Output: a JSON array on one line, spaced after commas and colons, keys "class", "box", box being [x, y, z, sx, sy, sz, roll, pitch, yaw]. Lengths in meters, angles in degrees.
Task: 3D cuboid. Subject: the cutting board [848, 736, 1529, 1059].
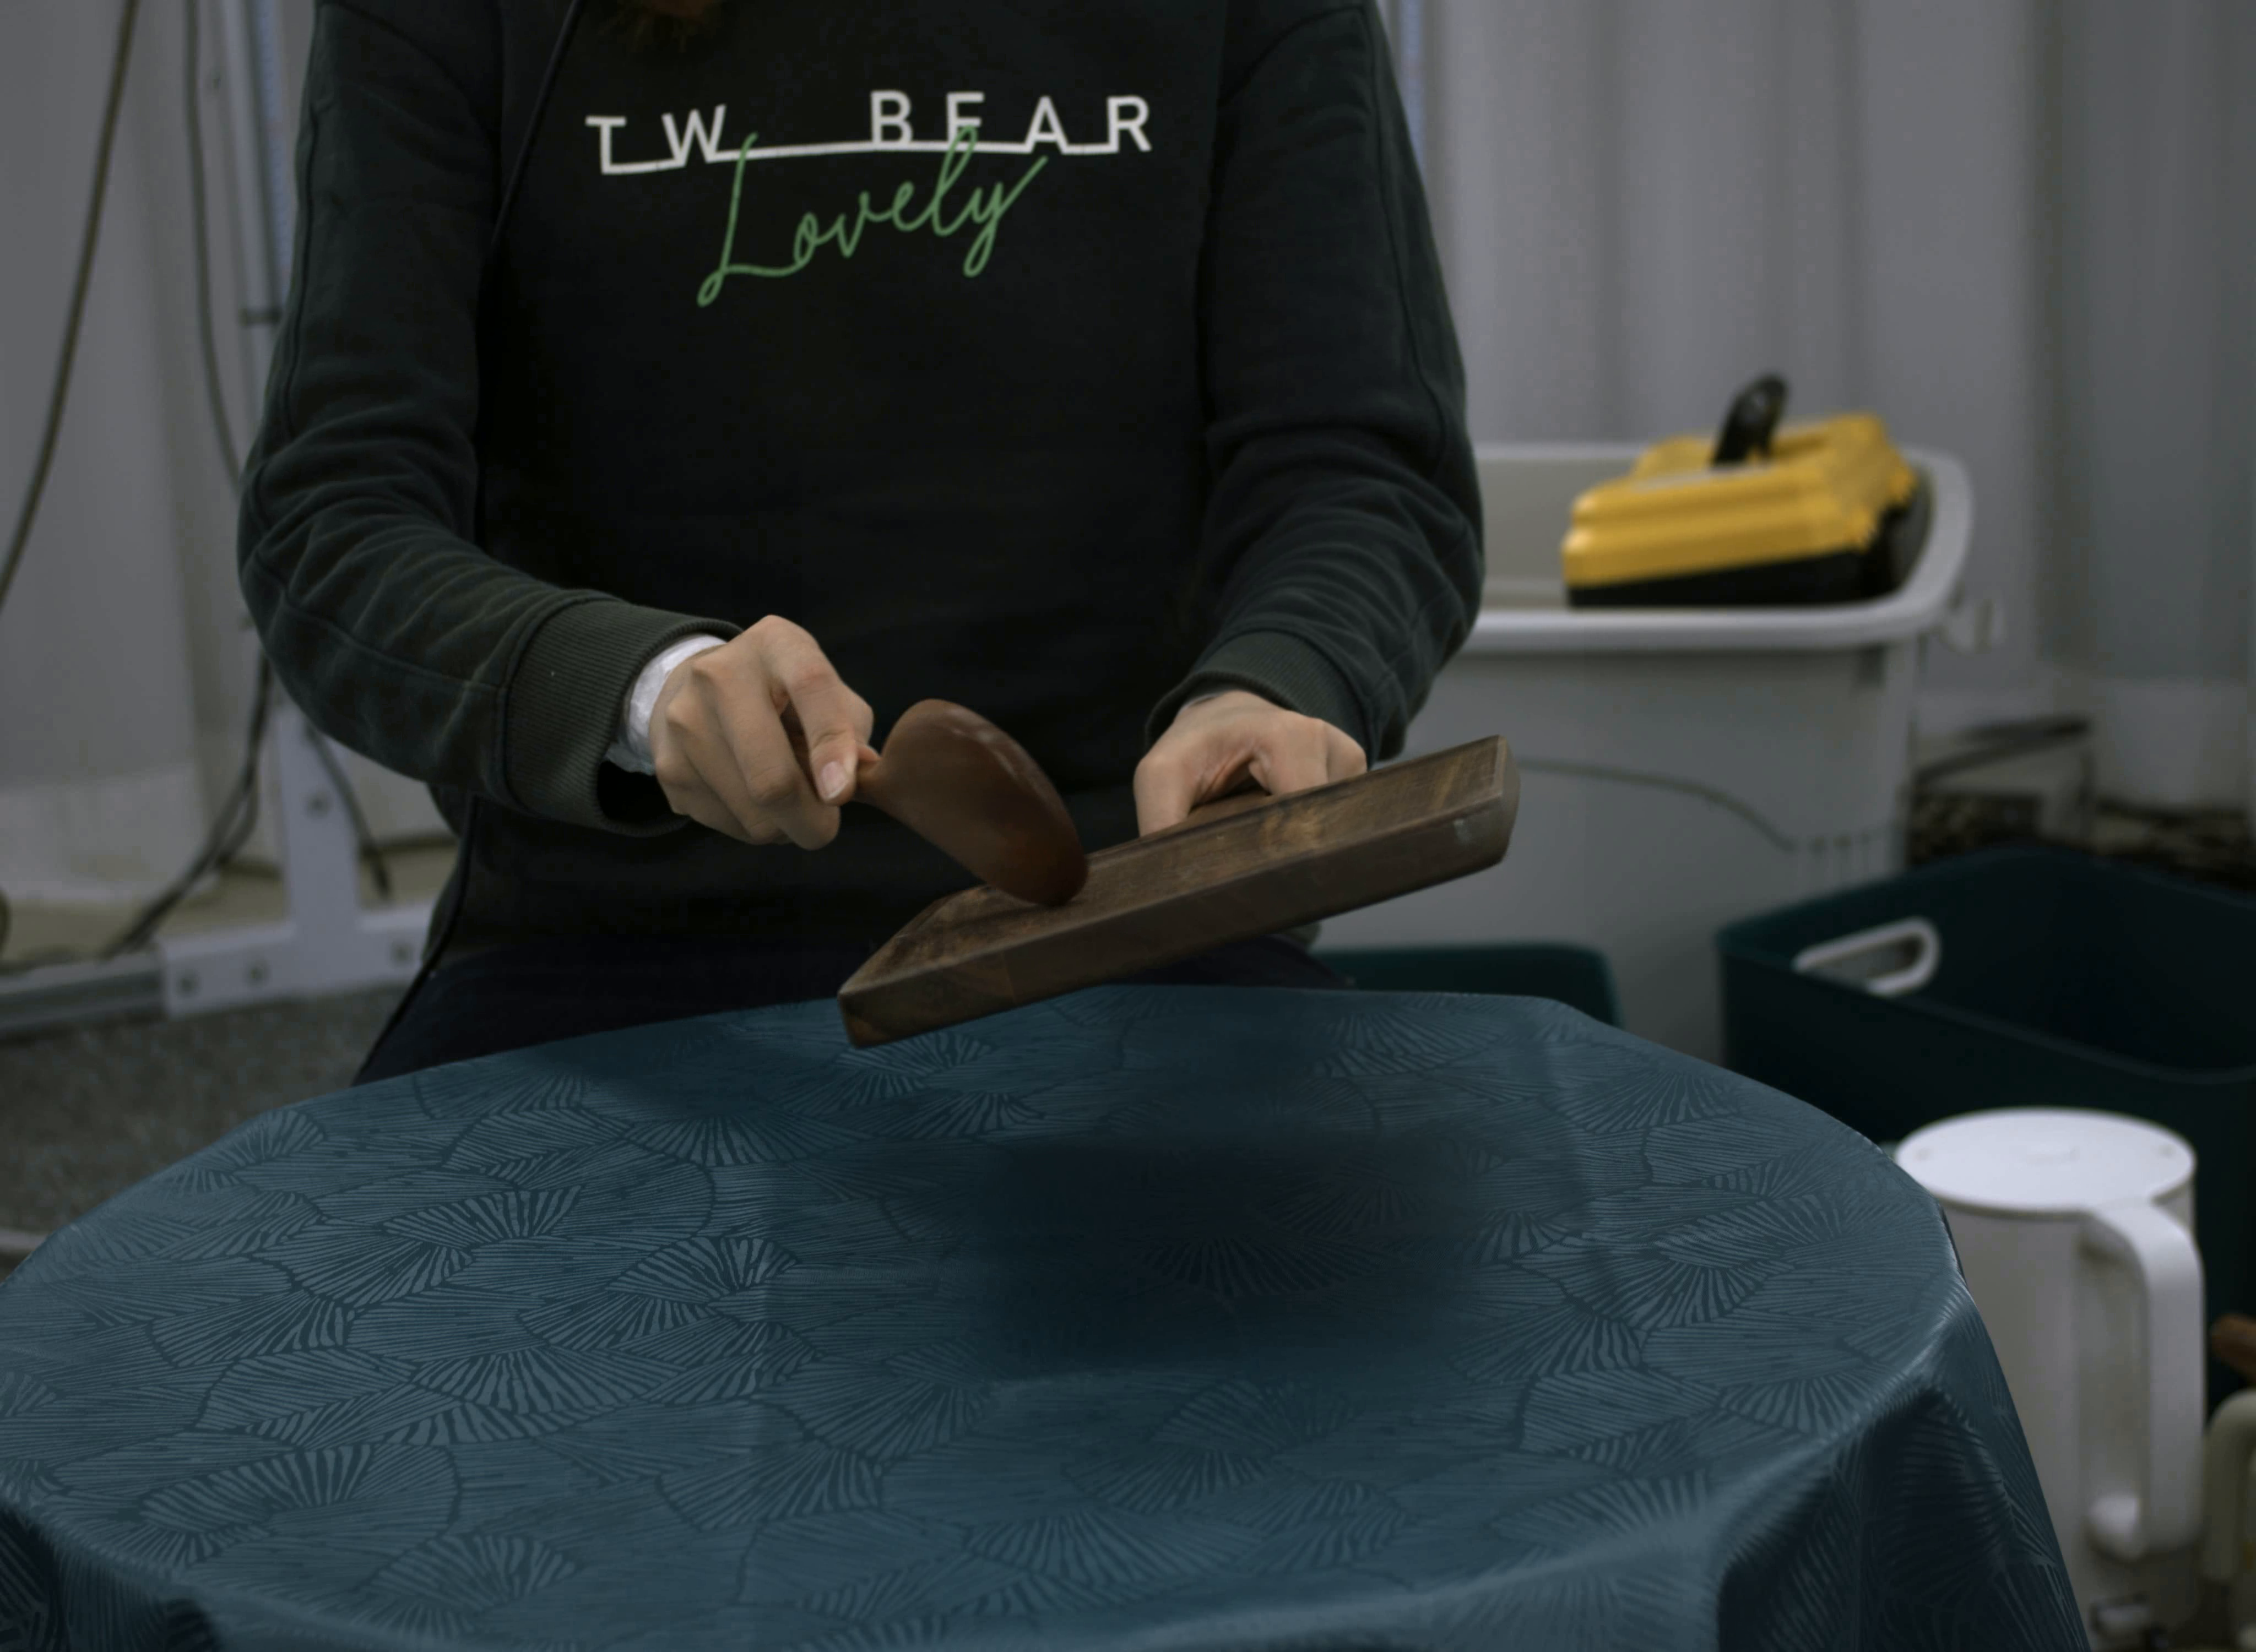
[{"class": "cutting board", "box": [0.027, 0.014, 1.692, 0.200, 0.023, 0.352, -17, 3, 6]}]

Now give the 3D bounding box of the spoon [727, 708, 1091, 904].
[{"class": "spoon", "box": [-0.075, -0.011, 1.708, 0.017, 0.075, 0.217, -41, 23, -18]}]
